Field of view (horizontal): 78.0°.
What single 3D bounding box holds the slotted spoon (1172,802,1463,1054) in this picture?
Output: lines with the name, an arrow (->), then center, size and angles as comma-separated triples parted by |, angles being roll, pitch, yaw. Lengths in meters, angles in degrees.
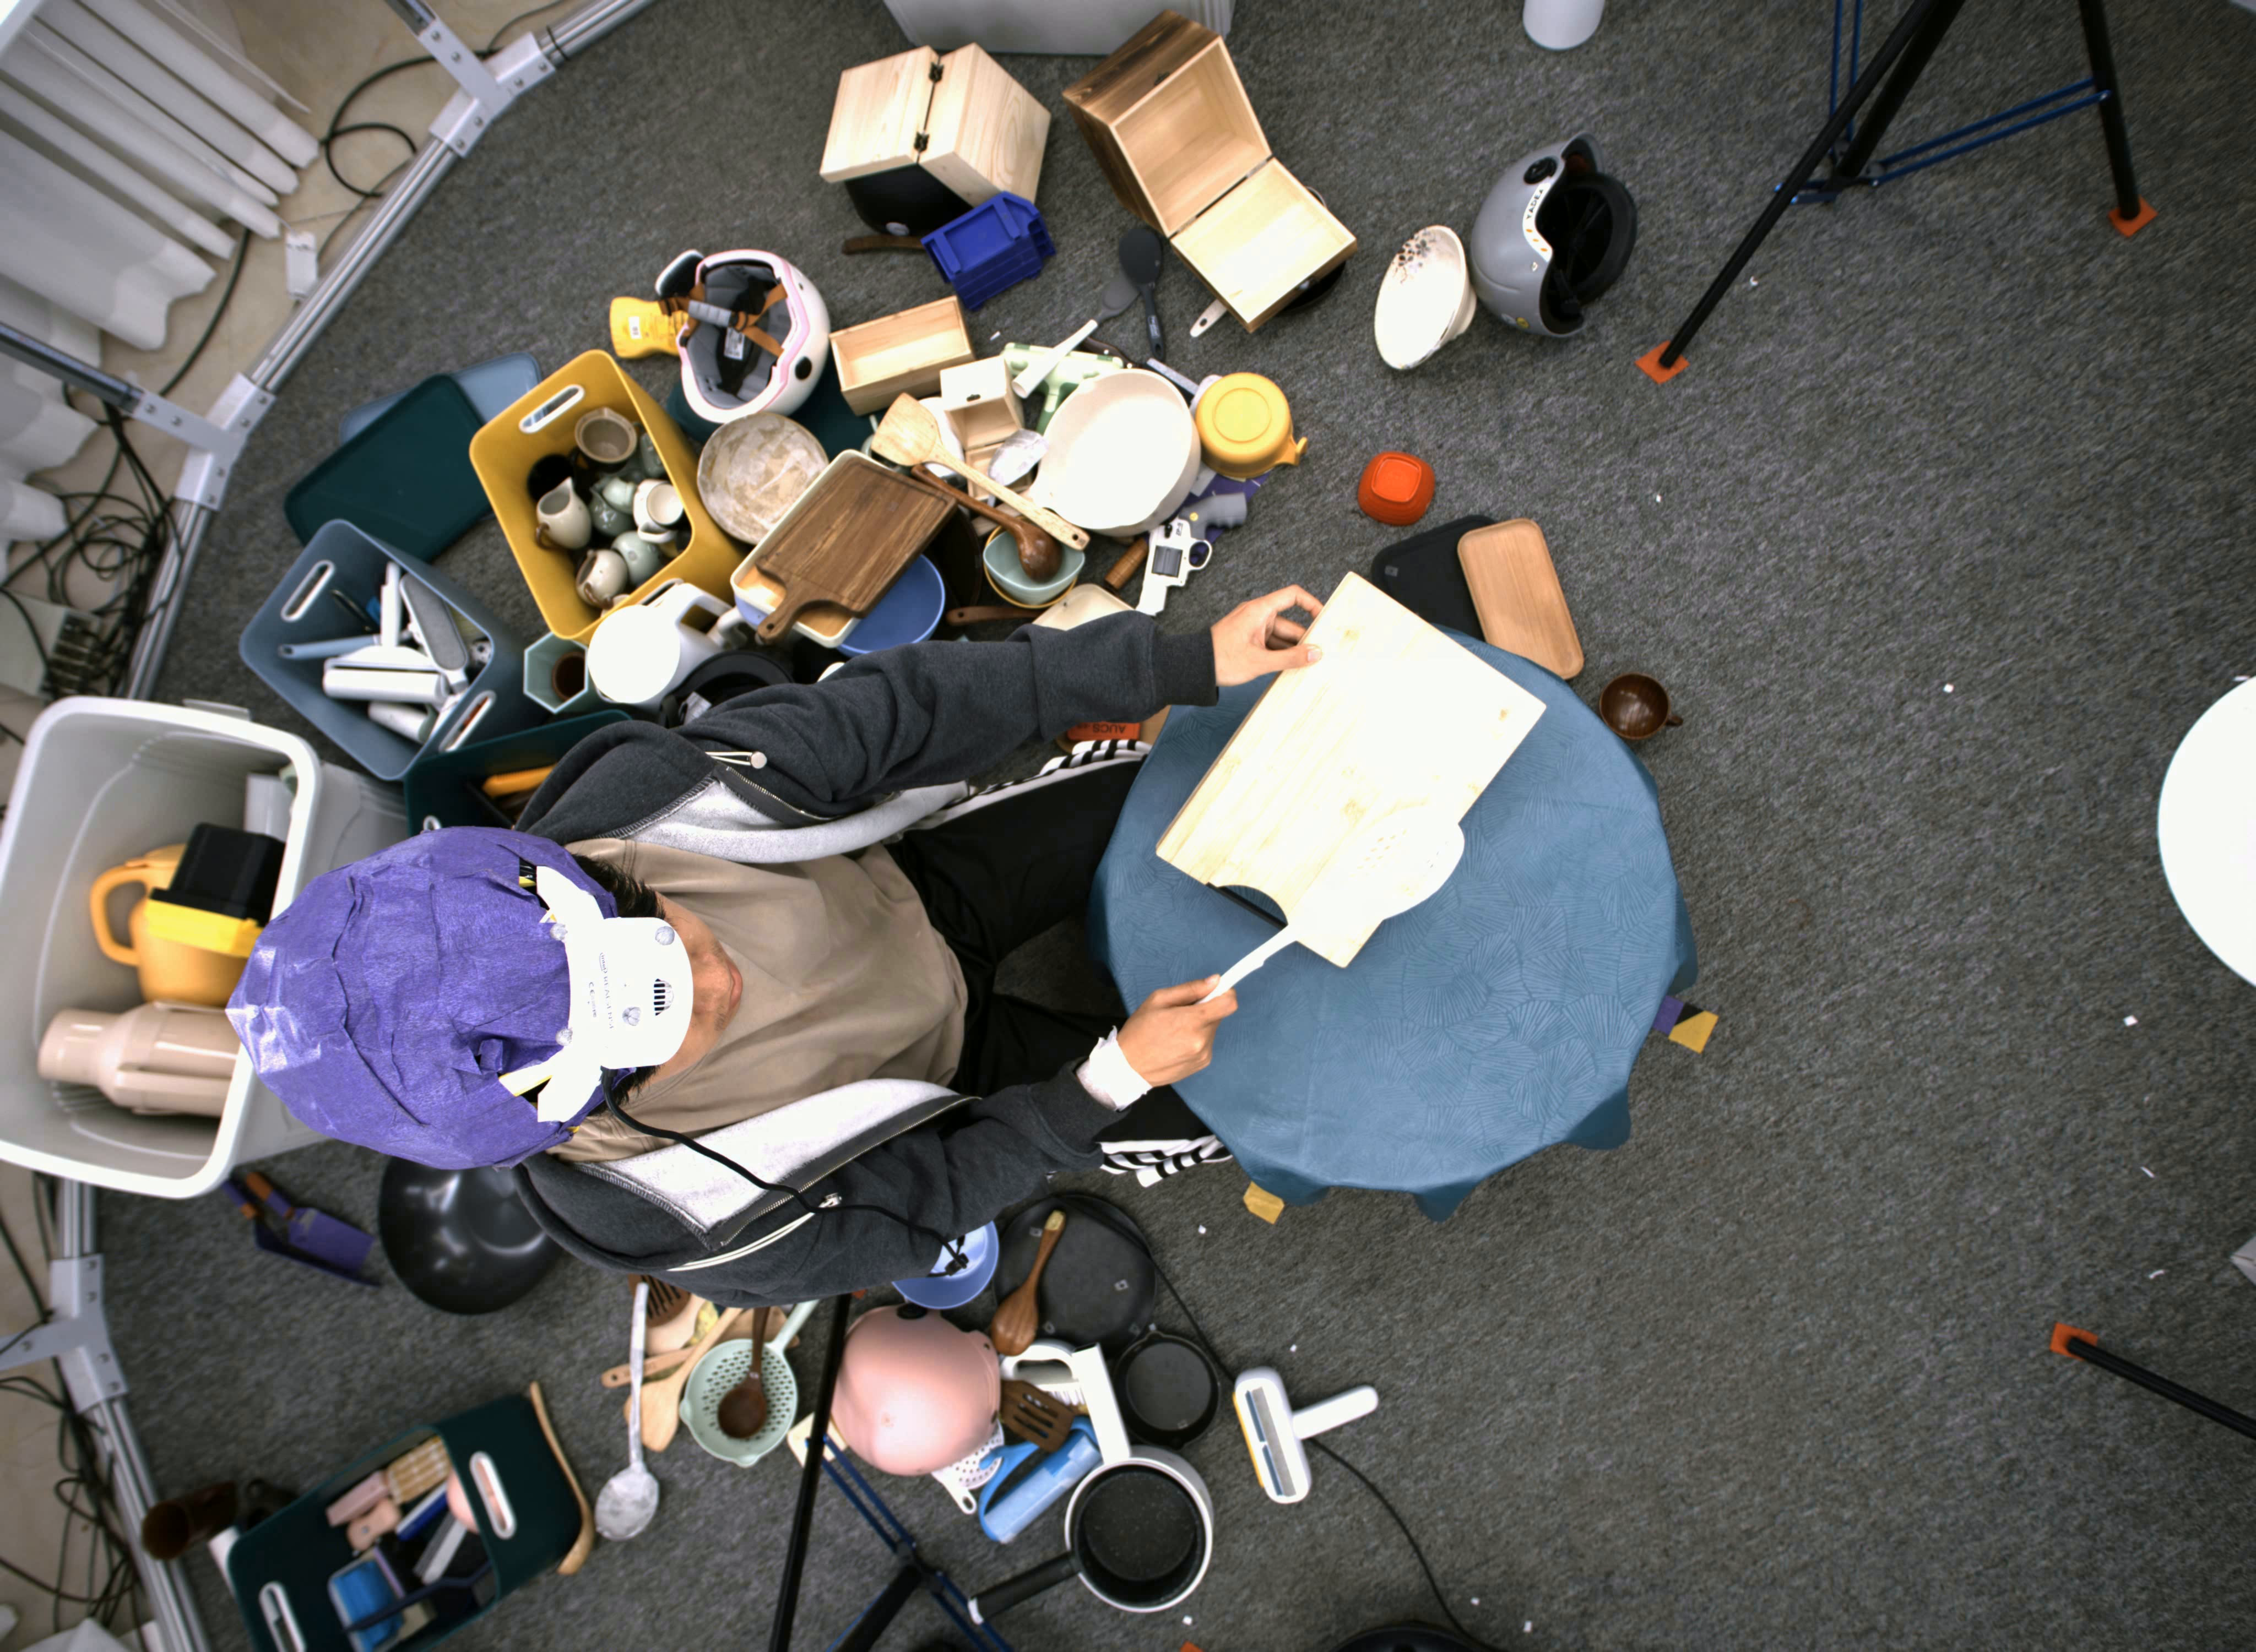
slotted spoon -> 0.174, 0.102, 1.330 | 0.349, 0.134, 0.051 | -34, 120, 5

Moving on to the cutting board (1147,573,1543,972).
cutting board -> 0.216, -0.045, 1.378 | 0.251, 0.023, 0.354 | 30, 109, -12
